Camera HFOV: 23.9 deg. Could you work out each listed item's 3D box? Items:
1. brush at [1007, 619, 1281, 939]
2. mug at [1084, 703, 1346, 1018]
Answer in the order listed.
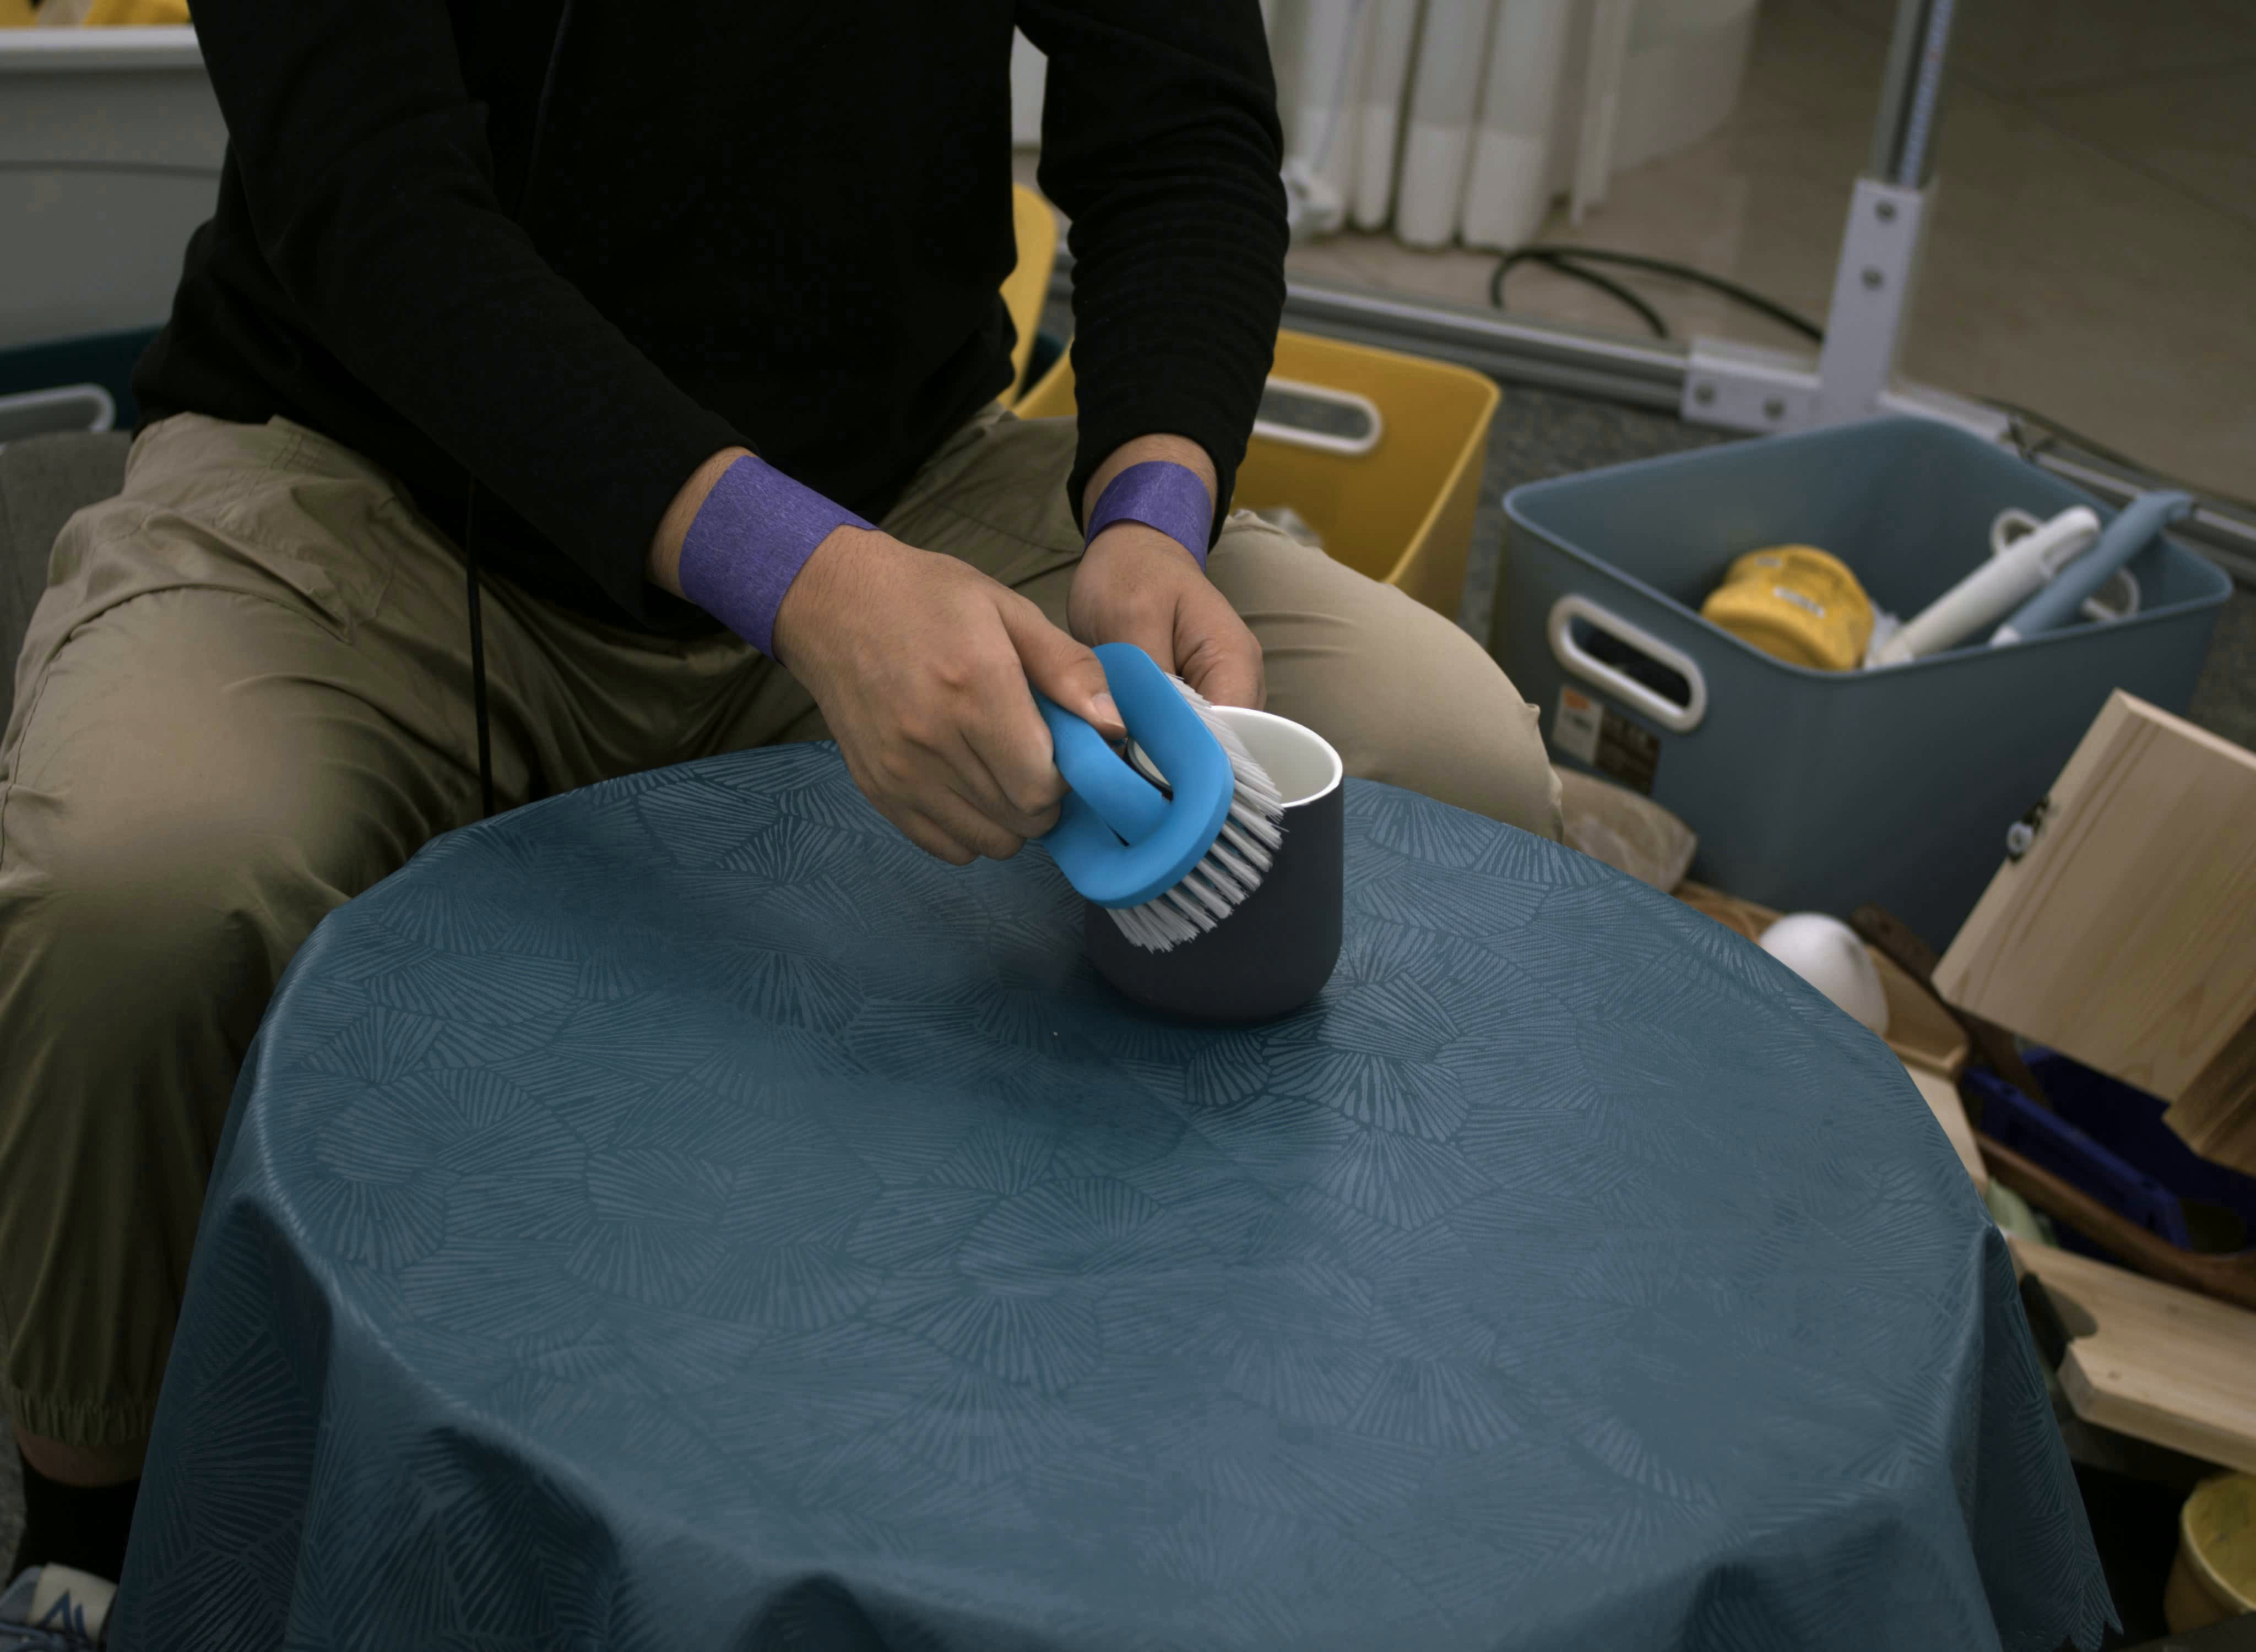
[{"bbox_3d":[-0.006,-0.024,1.880,0.063,0.084,0.143,35,12,-33],"label":"brush"},{"bbox_3d":[0.030,0.005,1.935,0.093,0.089,0.124,-2,30,-17],"label":"mug"}]
